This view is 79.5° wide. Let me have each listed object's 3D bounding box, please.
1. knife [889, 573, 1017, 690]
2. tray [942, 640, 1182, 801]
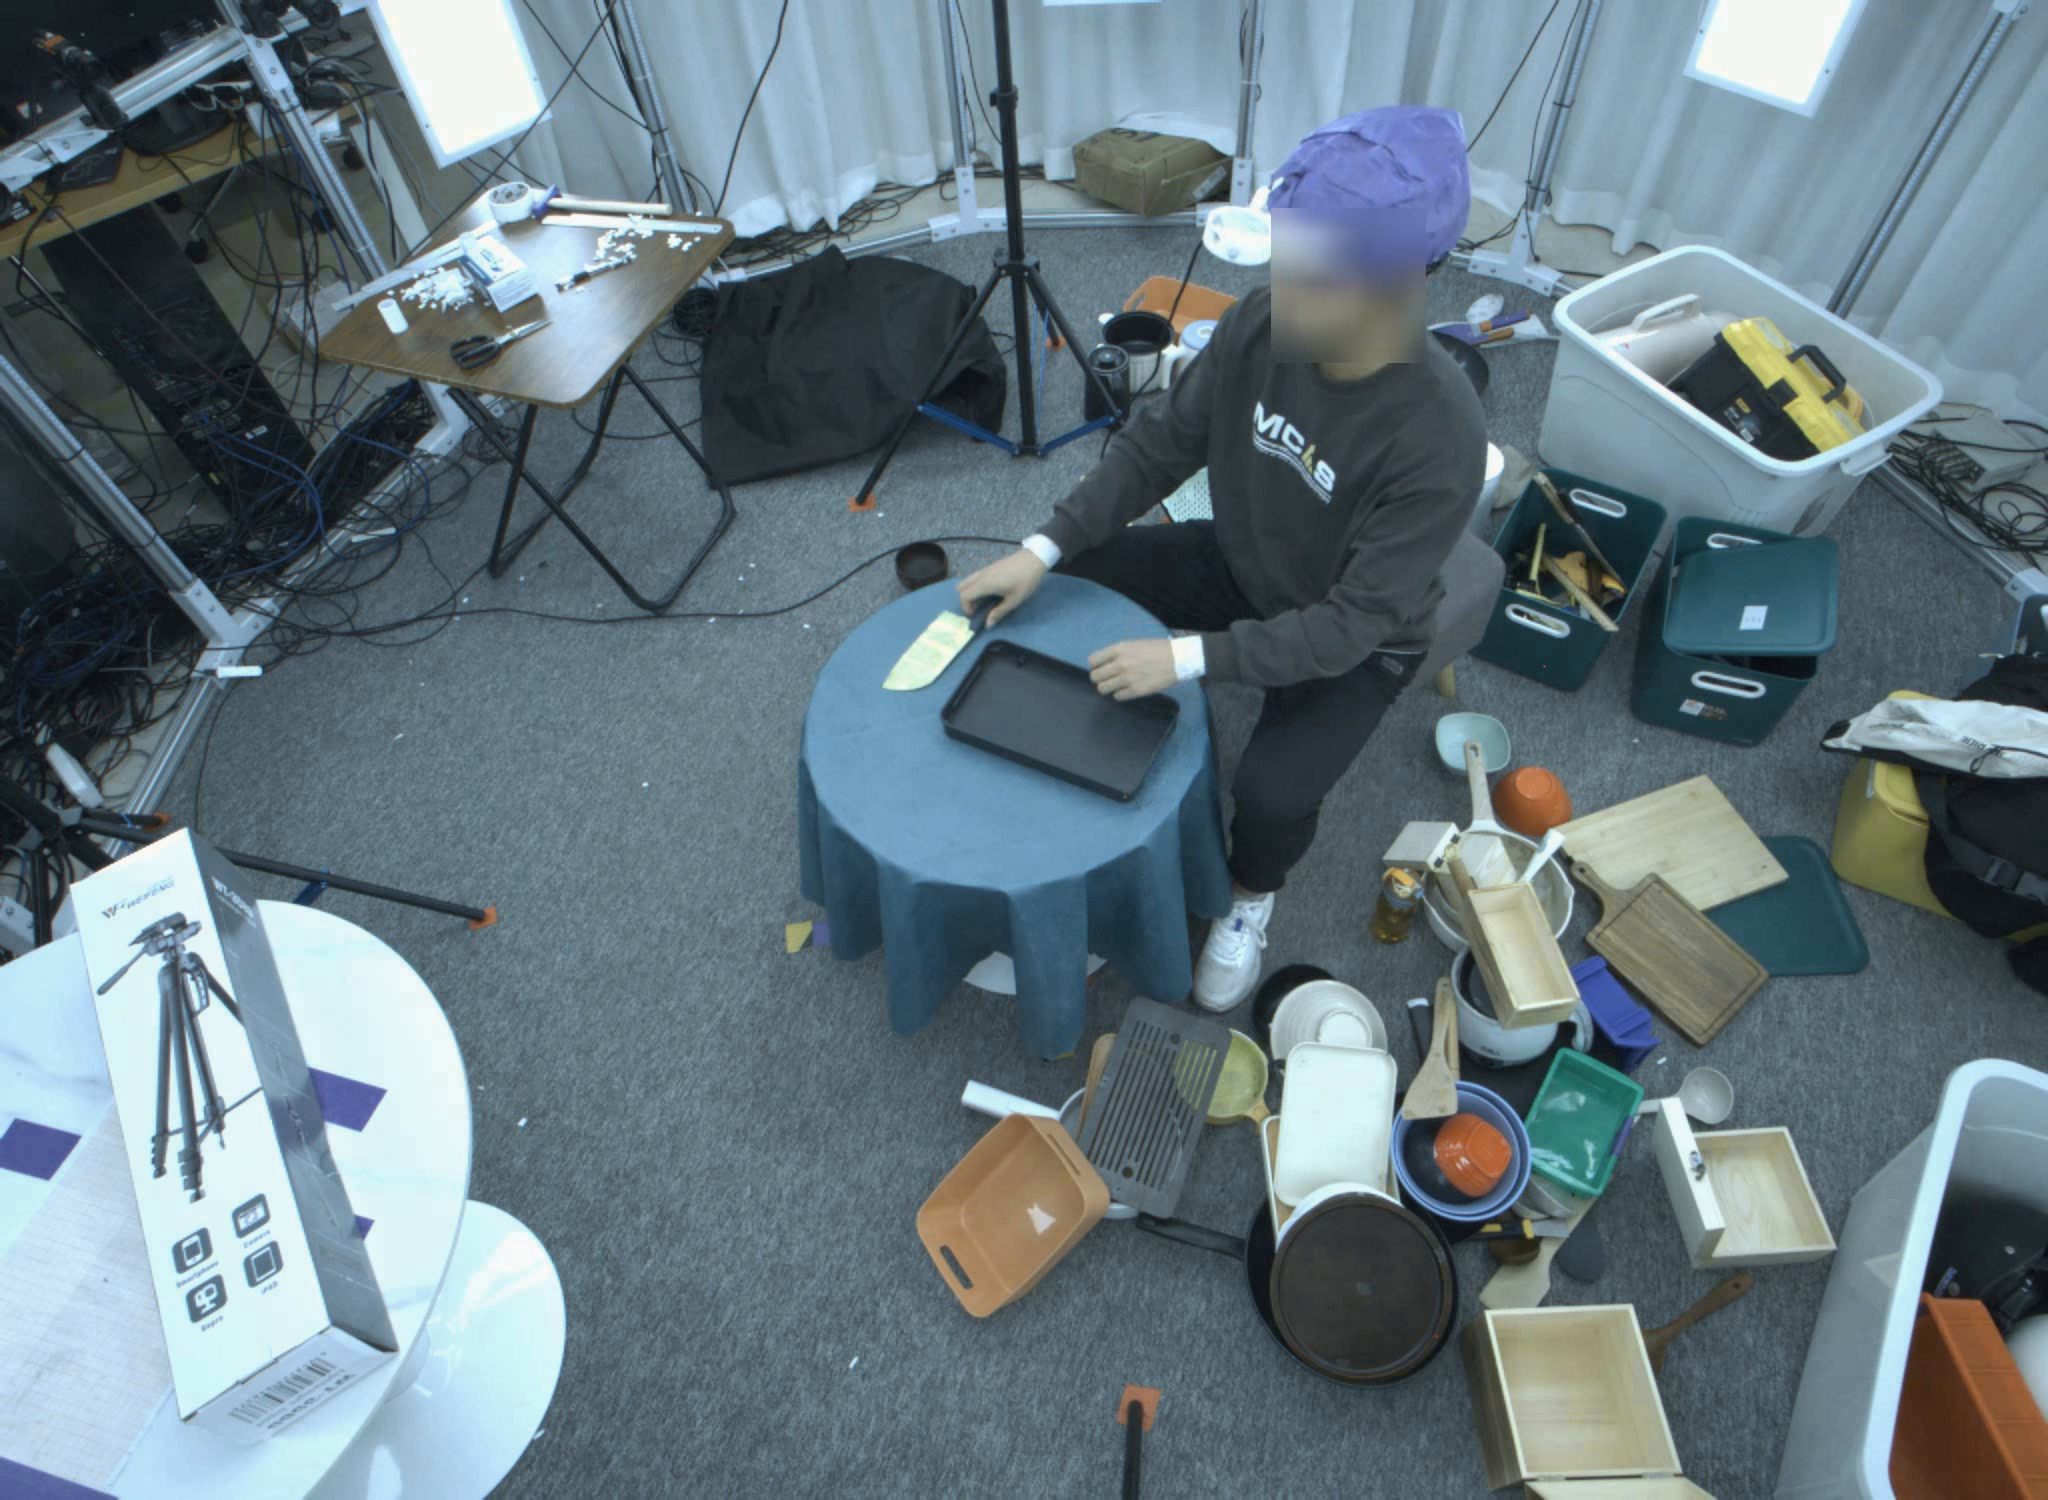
[{"bbox_3d":[-0.111,-0.189,1.924,0.080,0.027,0.291,32,62,21],"label":"knife"},{"bbox_3d":[0.056,-0.047,1.805,0.314,0.037,0.184,19,56,15],"label":"tray"}]
